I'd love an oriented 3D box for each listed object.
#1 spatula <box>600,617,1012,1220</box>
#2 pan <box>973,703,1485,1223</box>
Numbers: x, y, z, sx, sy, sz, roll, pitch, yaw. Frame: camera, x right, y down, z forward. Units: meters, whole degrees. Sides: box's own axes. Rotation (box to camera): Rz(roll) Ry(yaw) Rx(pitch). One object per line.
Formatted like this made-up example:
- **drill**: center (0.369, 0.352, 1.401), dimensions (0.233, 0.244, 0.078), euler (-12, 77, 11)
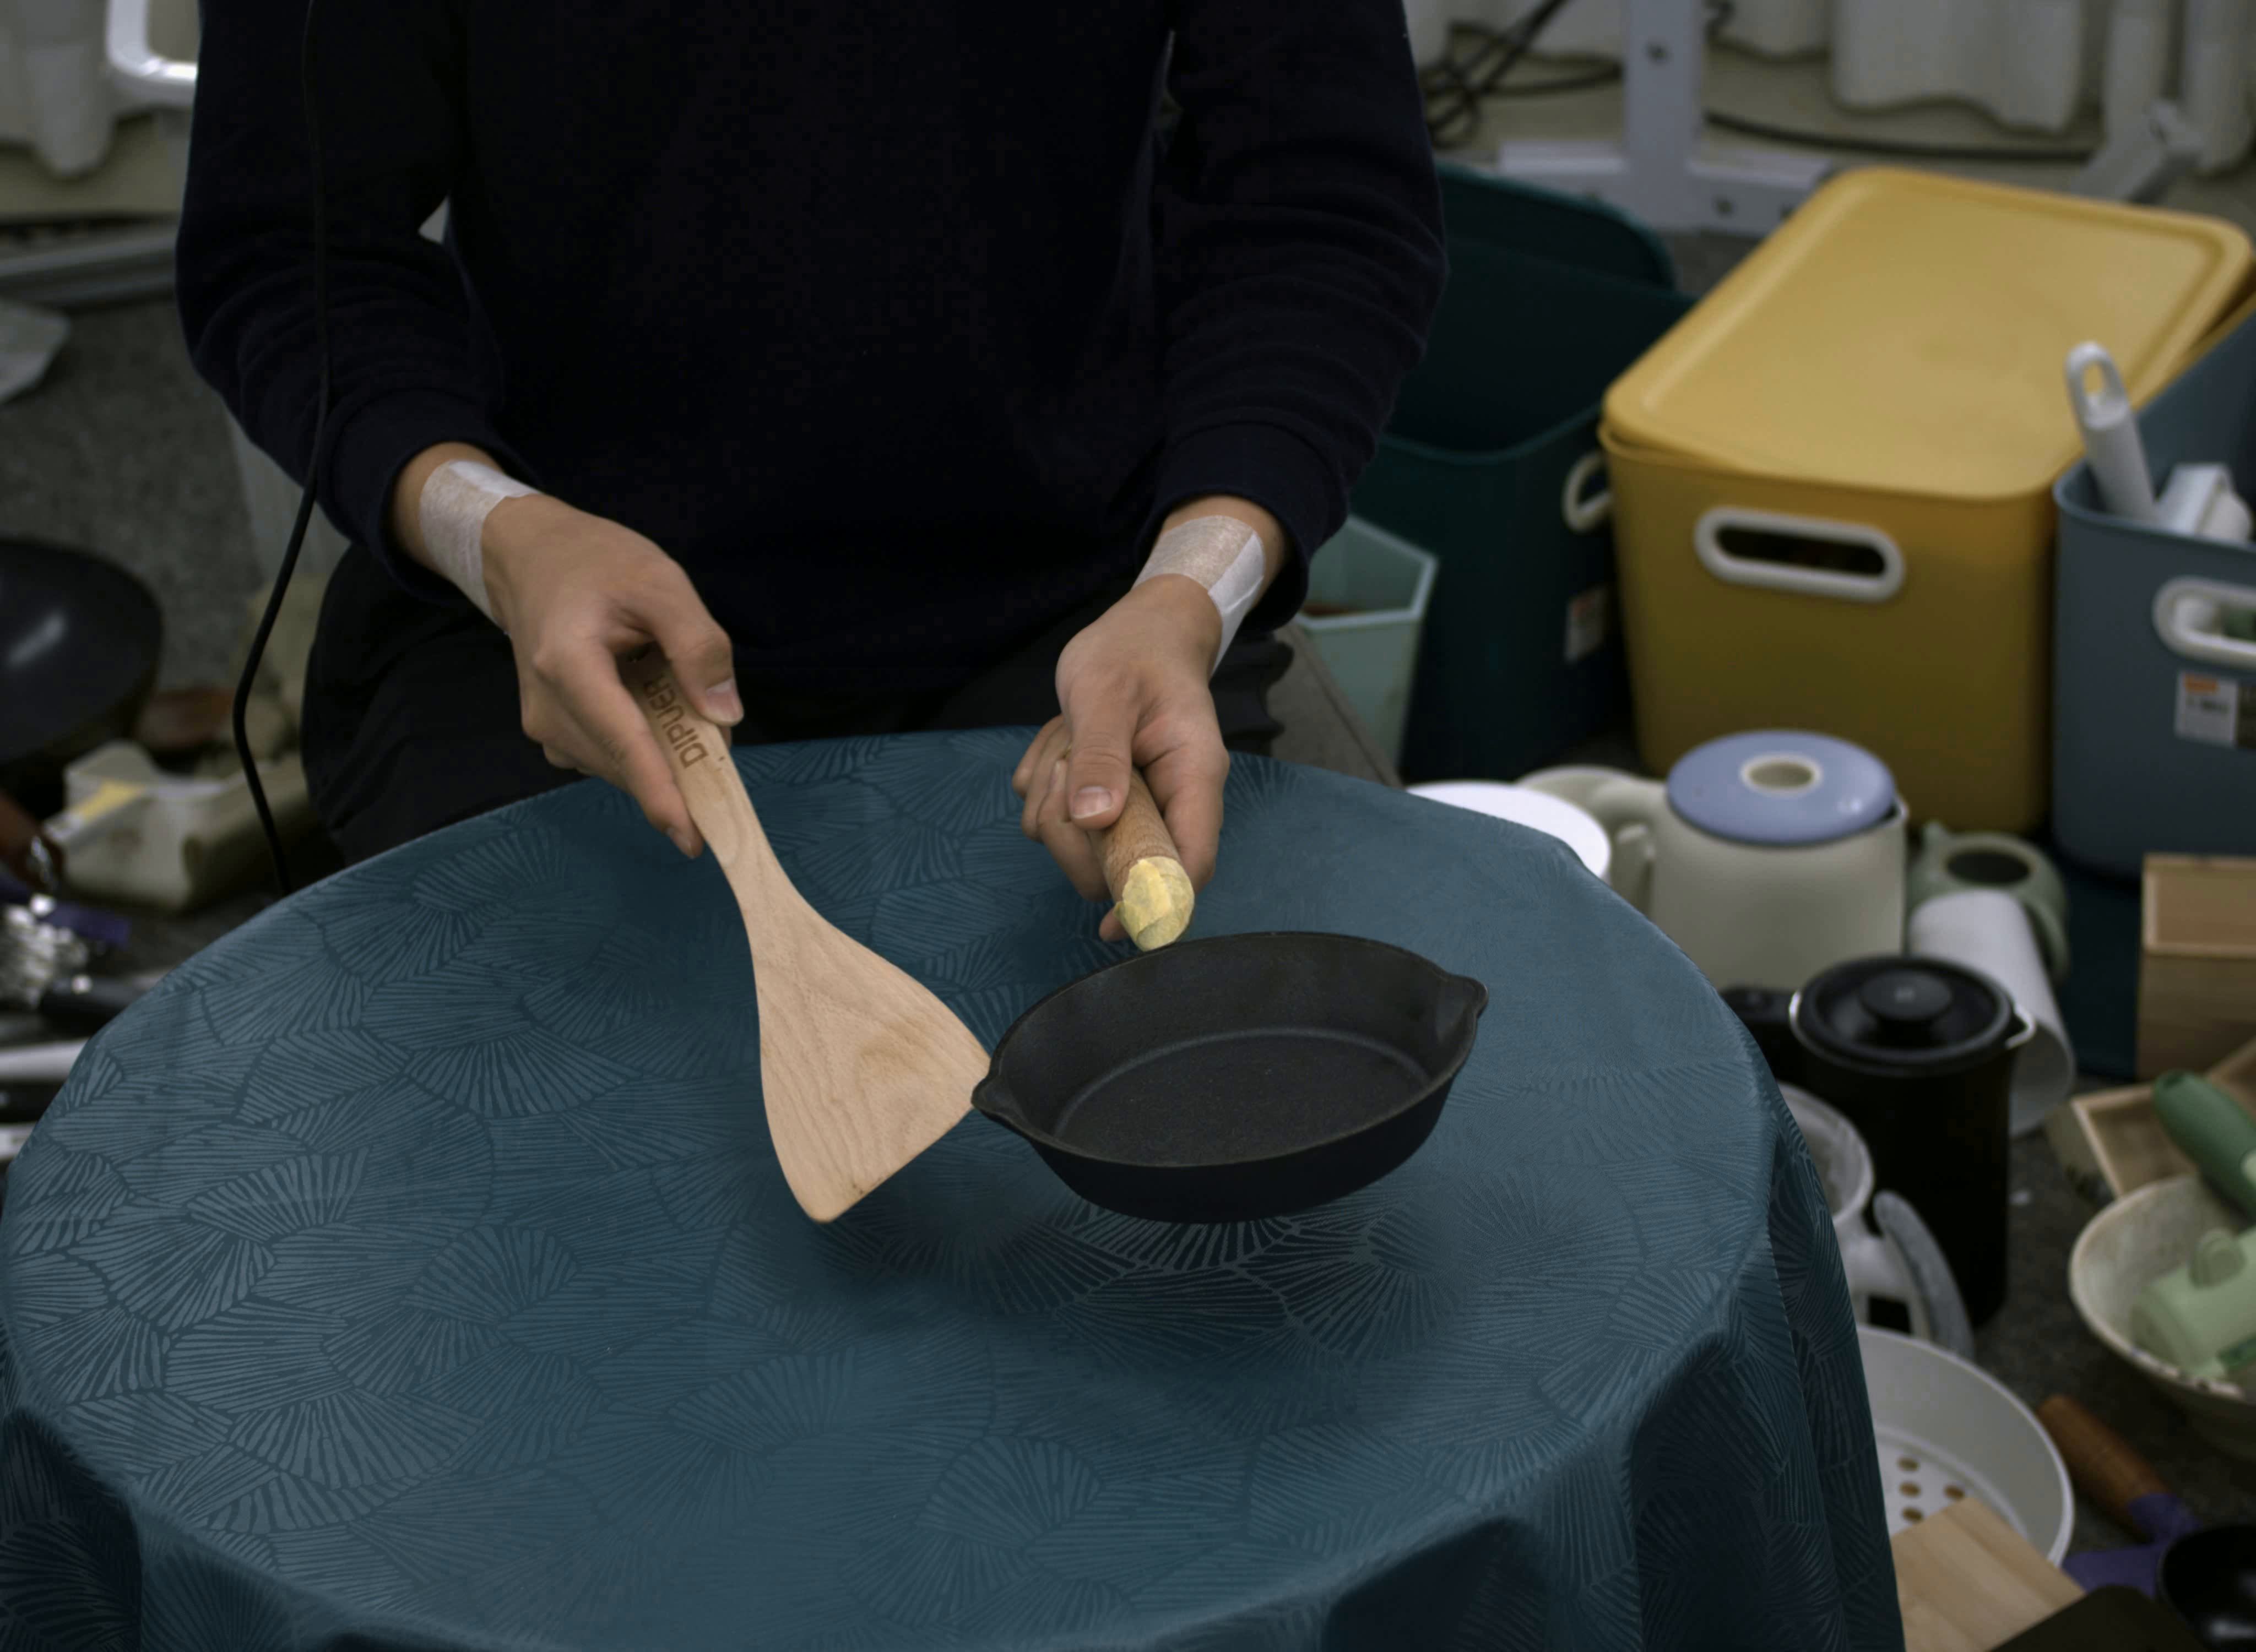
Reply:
- **spatula**: center (-0.123, 0.019, 1.916), dimensions (0.080, 0.016, 0.331), euler (-28, 42, -4)
- **pan**: center (0.019, 0.042, 1.876), dimensions (0.168, 0.049, 0.328), euler (-11, 26, -5)
